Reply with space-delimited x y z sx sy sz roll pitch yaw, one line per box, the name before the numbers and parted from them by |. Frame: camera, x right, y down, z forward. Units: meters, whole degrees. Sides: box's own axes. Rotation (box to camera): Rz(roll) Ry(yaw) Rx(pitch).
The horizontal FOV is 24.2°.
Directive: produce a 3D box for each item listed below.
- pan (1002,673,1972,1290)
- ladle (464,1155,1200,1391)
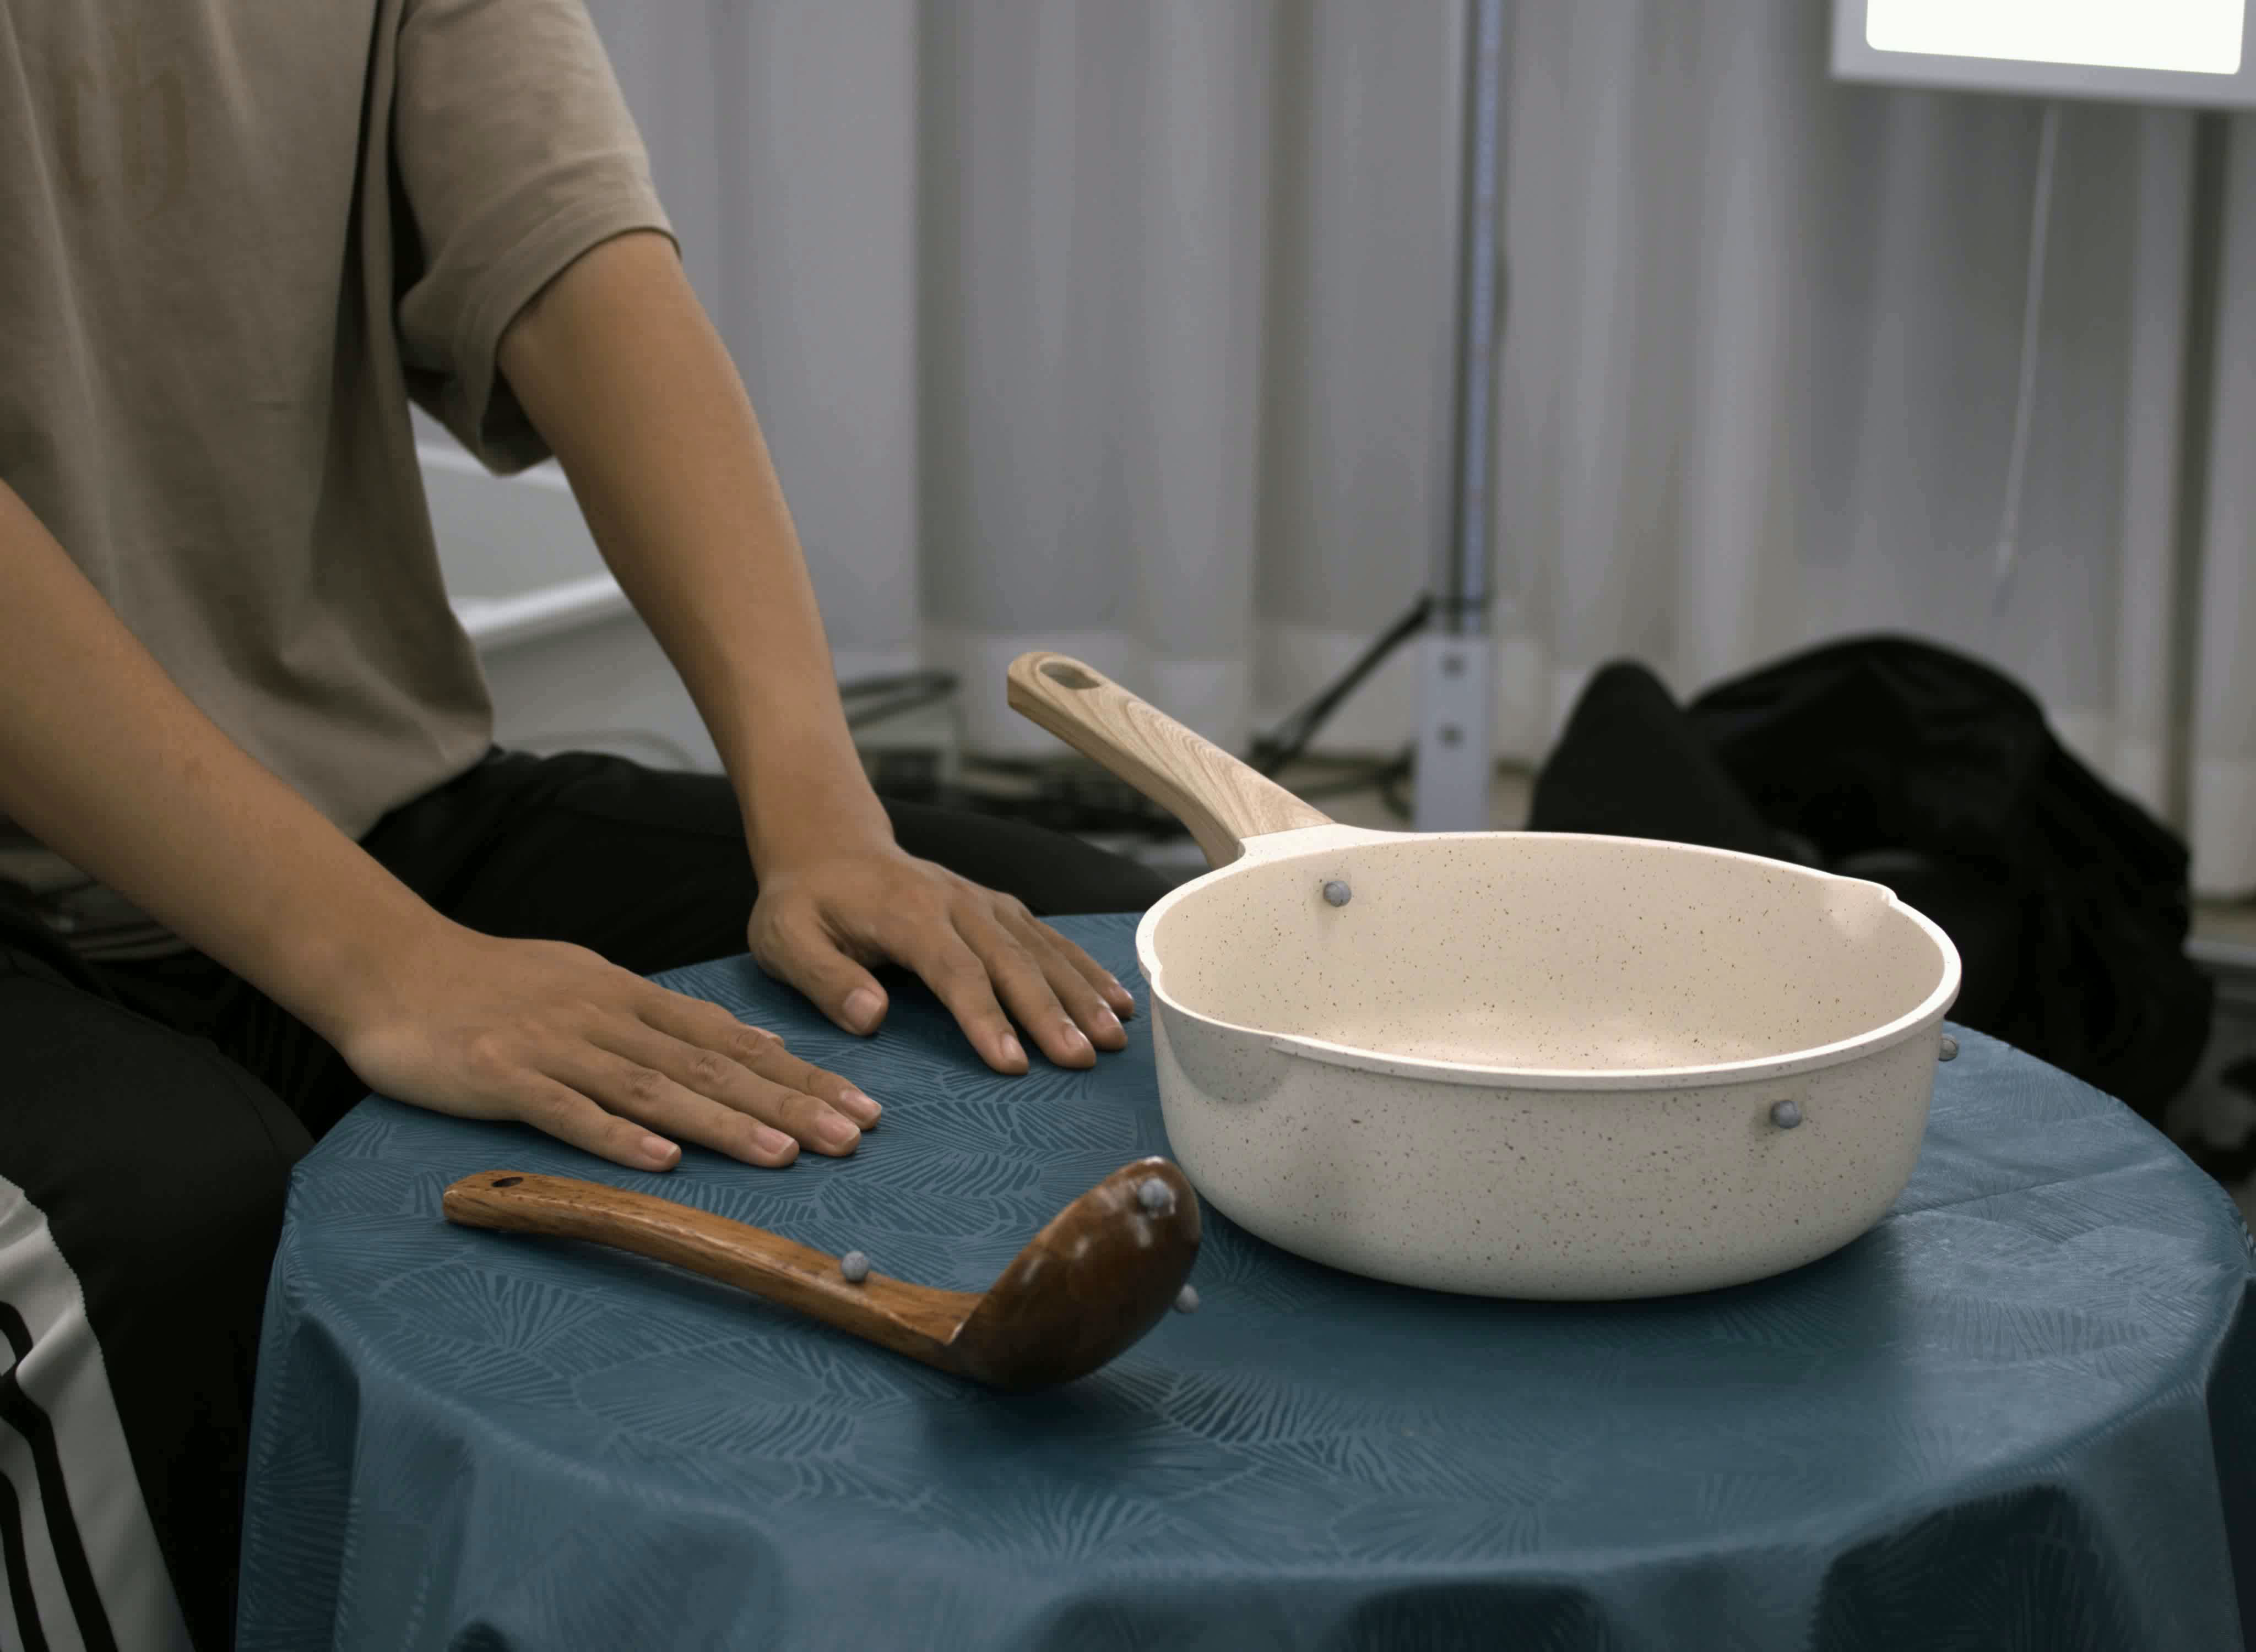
pan | 0.083 0.044 1.690 0.264 0.103 0.429 -11 19 -31
ladle | -0.095 0.104 1.503 0.270 0.077 0.082 14 22 38
